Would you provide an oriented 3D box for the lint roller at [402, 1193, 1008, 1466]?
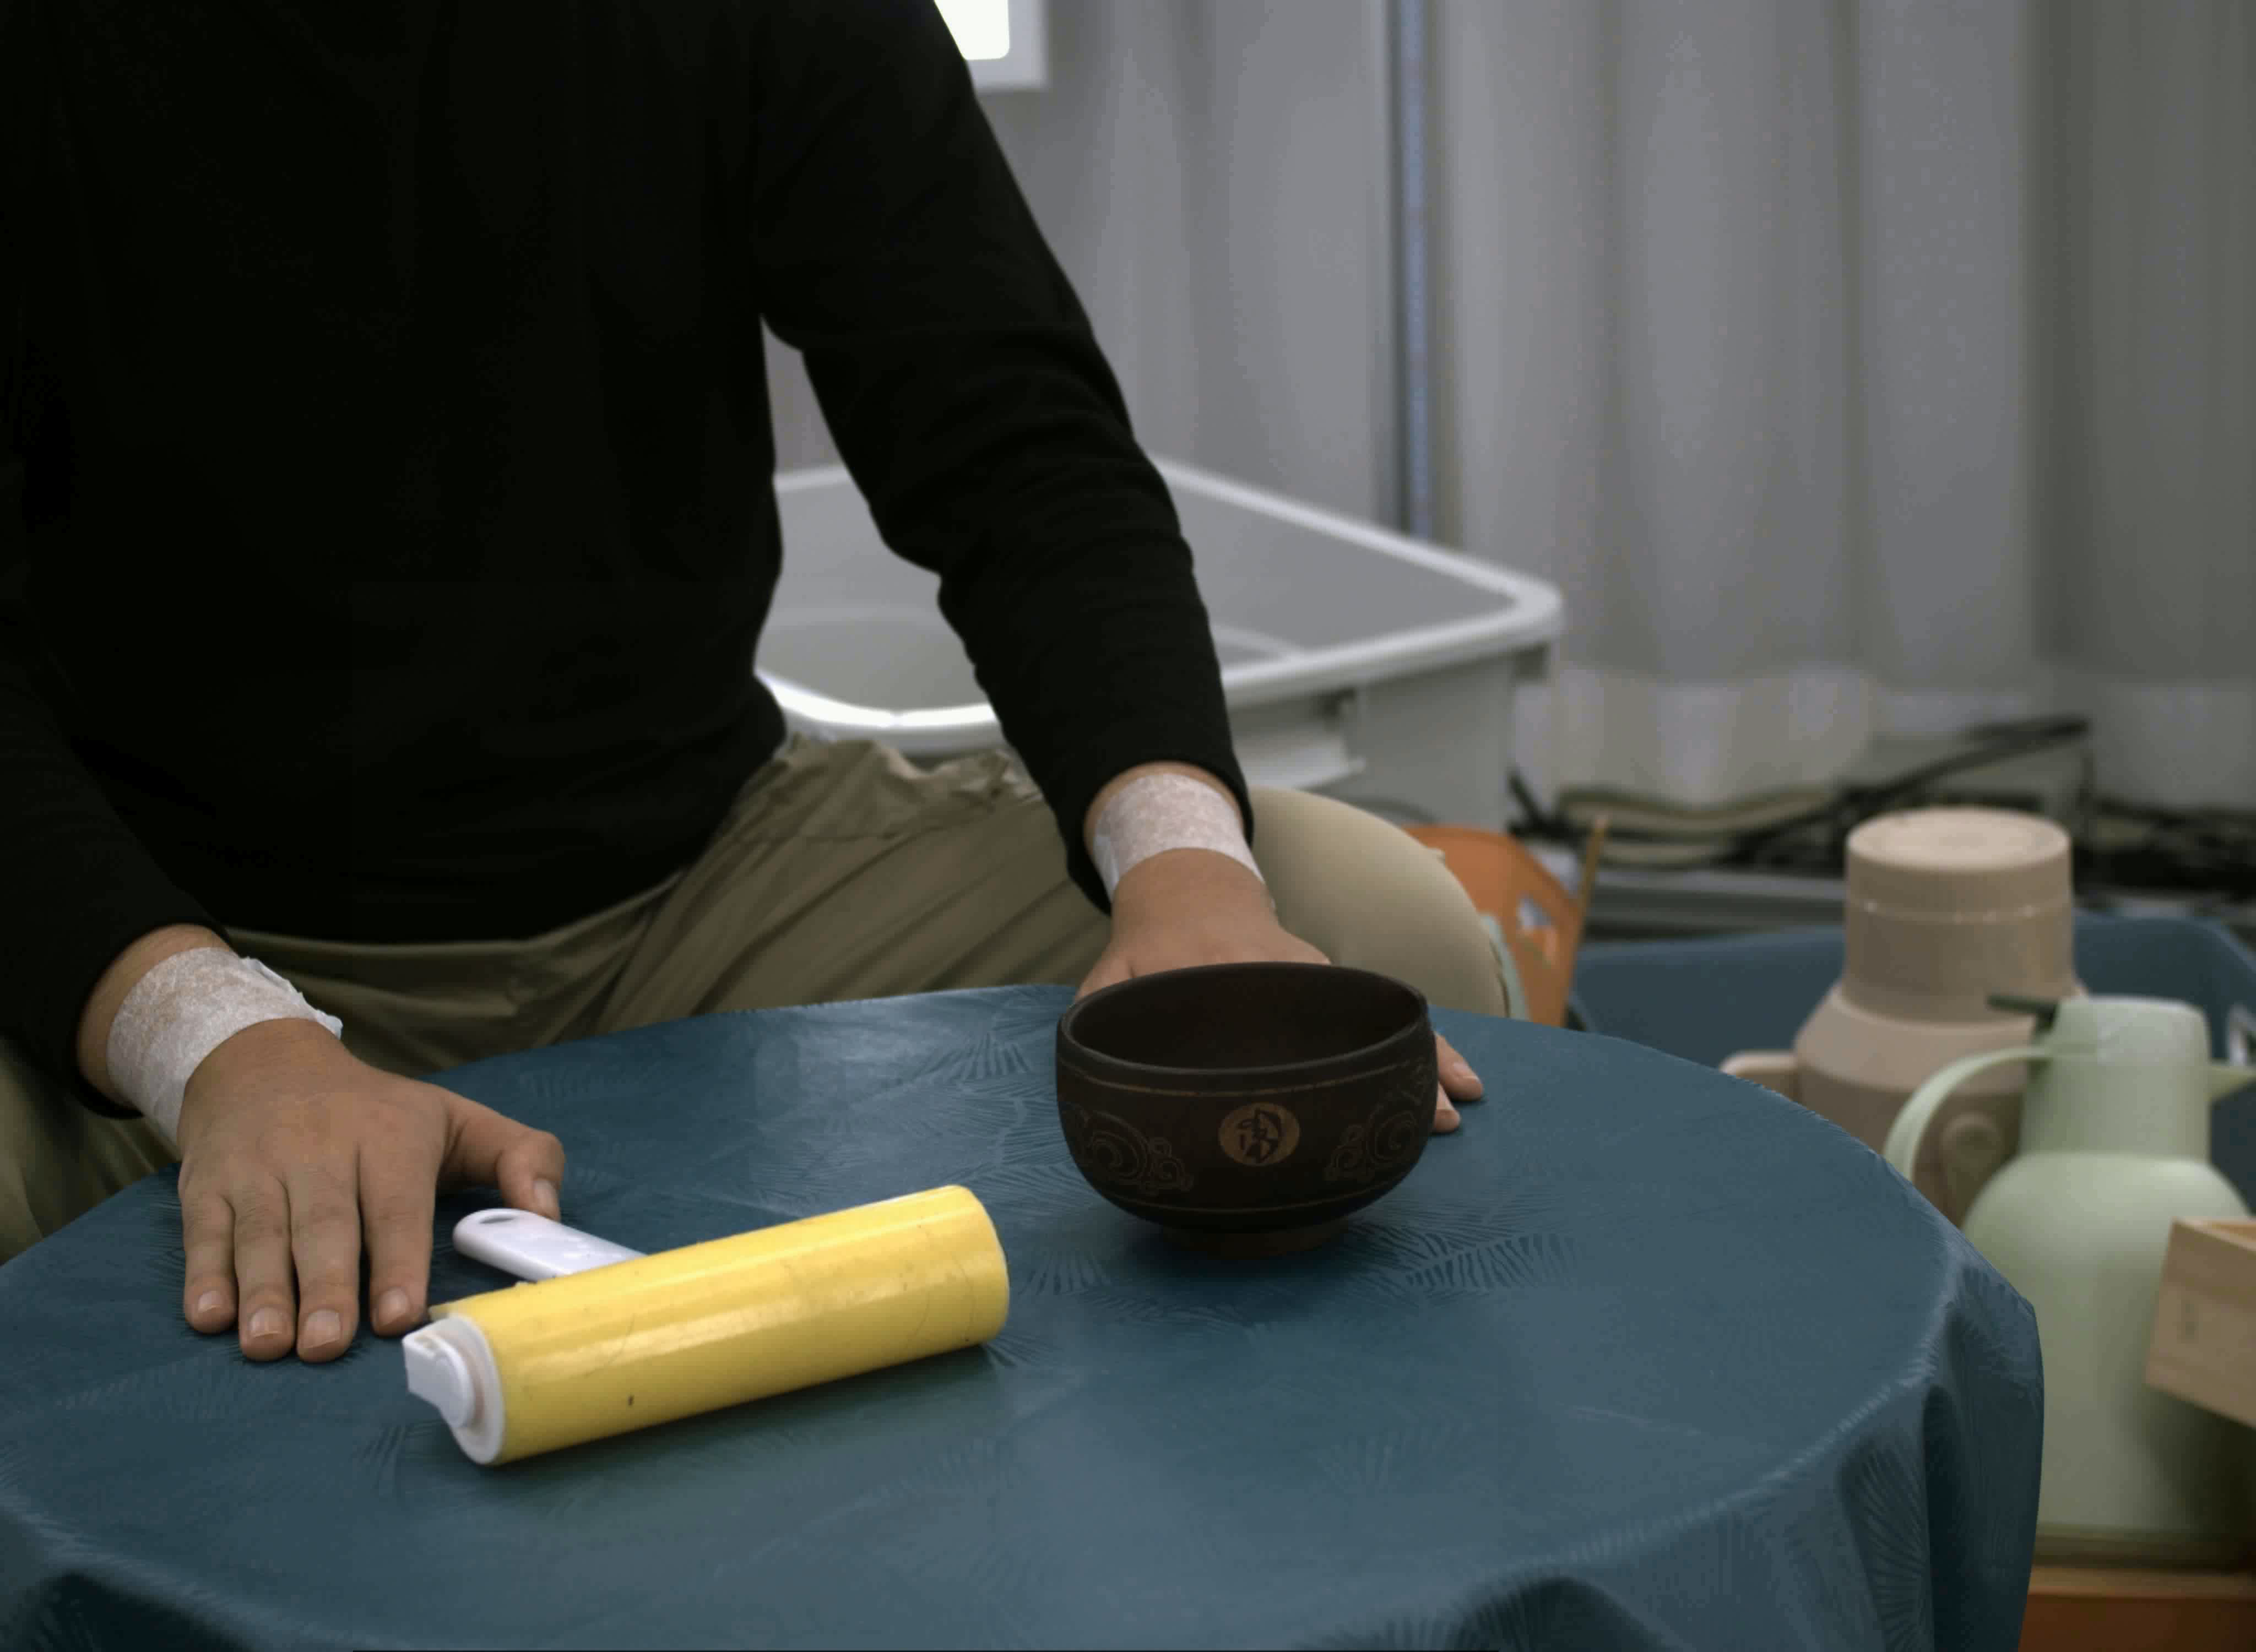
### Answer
[{"bbox_3d":[-0.153,0.125,1.605,0.173,0.051,0.194,-11,21,-31],"label":"lint roller"}]

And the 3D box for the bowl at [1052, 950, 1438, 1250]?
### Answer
[{"bbox_3d":[0.036,0.087,1.665,0.117,0.069,0.119,-2,15,0],"label":"bowl"}]
